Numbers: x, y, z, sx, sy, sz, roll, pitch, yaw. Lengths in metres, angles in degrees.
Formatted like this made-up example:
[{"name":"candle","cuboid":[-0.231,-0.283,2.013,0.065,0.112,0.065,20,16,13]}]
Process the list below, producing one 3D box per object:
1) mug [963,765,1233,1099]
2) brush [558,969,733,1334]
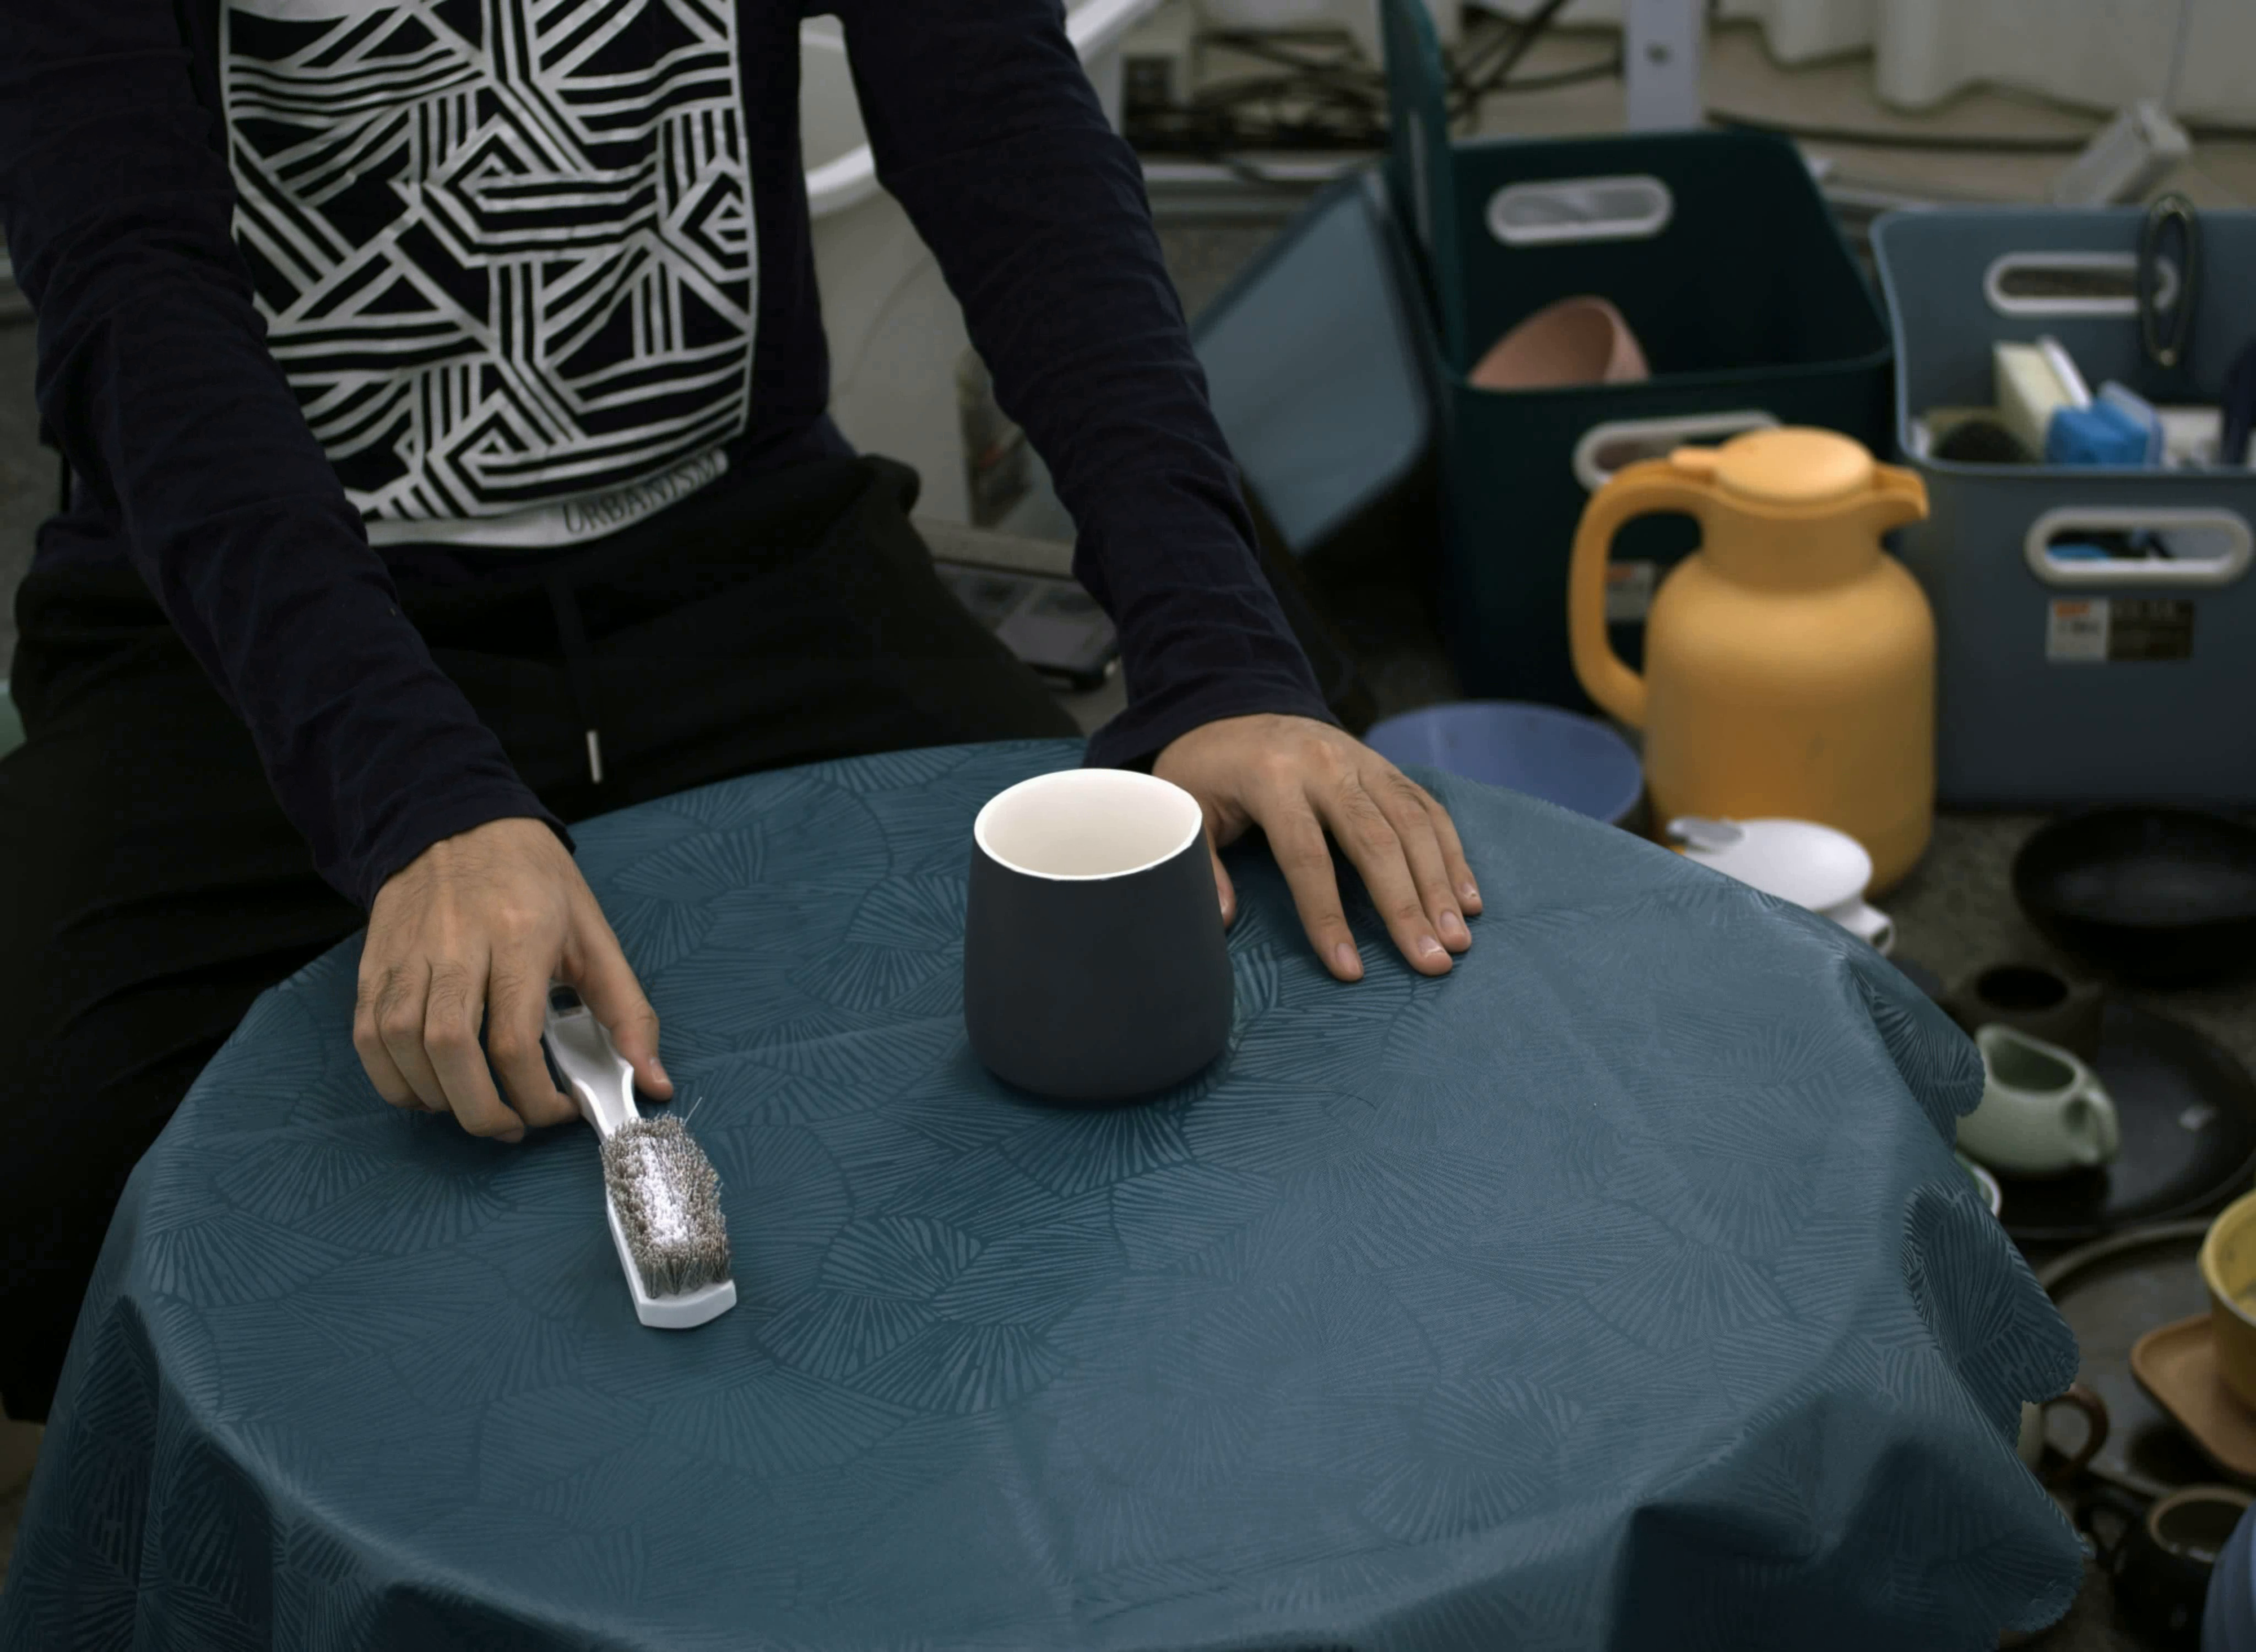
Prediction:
[{"name":"mug","cuboid":[-0.013,0.030,1.937,0.093,0.089,0.125,-5,28,-8]},{"name":"brush","cuboid":[-0.168,0.092,1.882,0.034,0.050,0.246,-13,29,-7]}]
